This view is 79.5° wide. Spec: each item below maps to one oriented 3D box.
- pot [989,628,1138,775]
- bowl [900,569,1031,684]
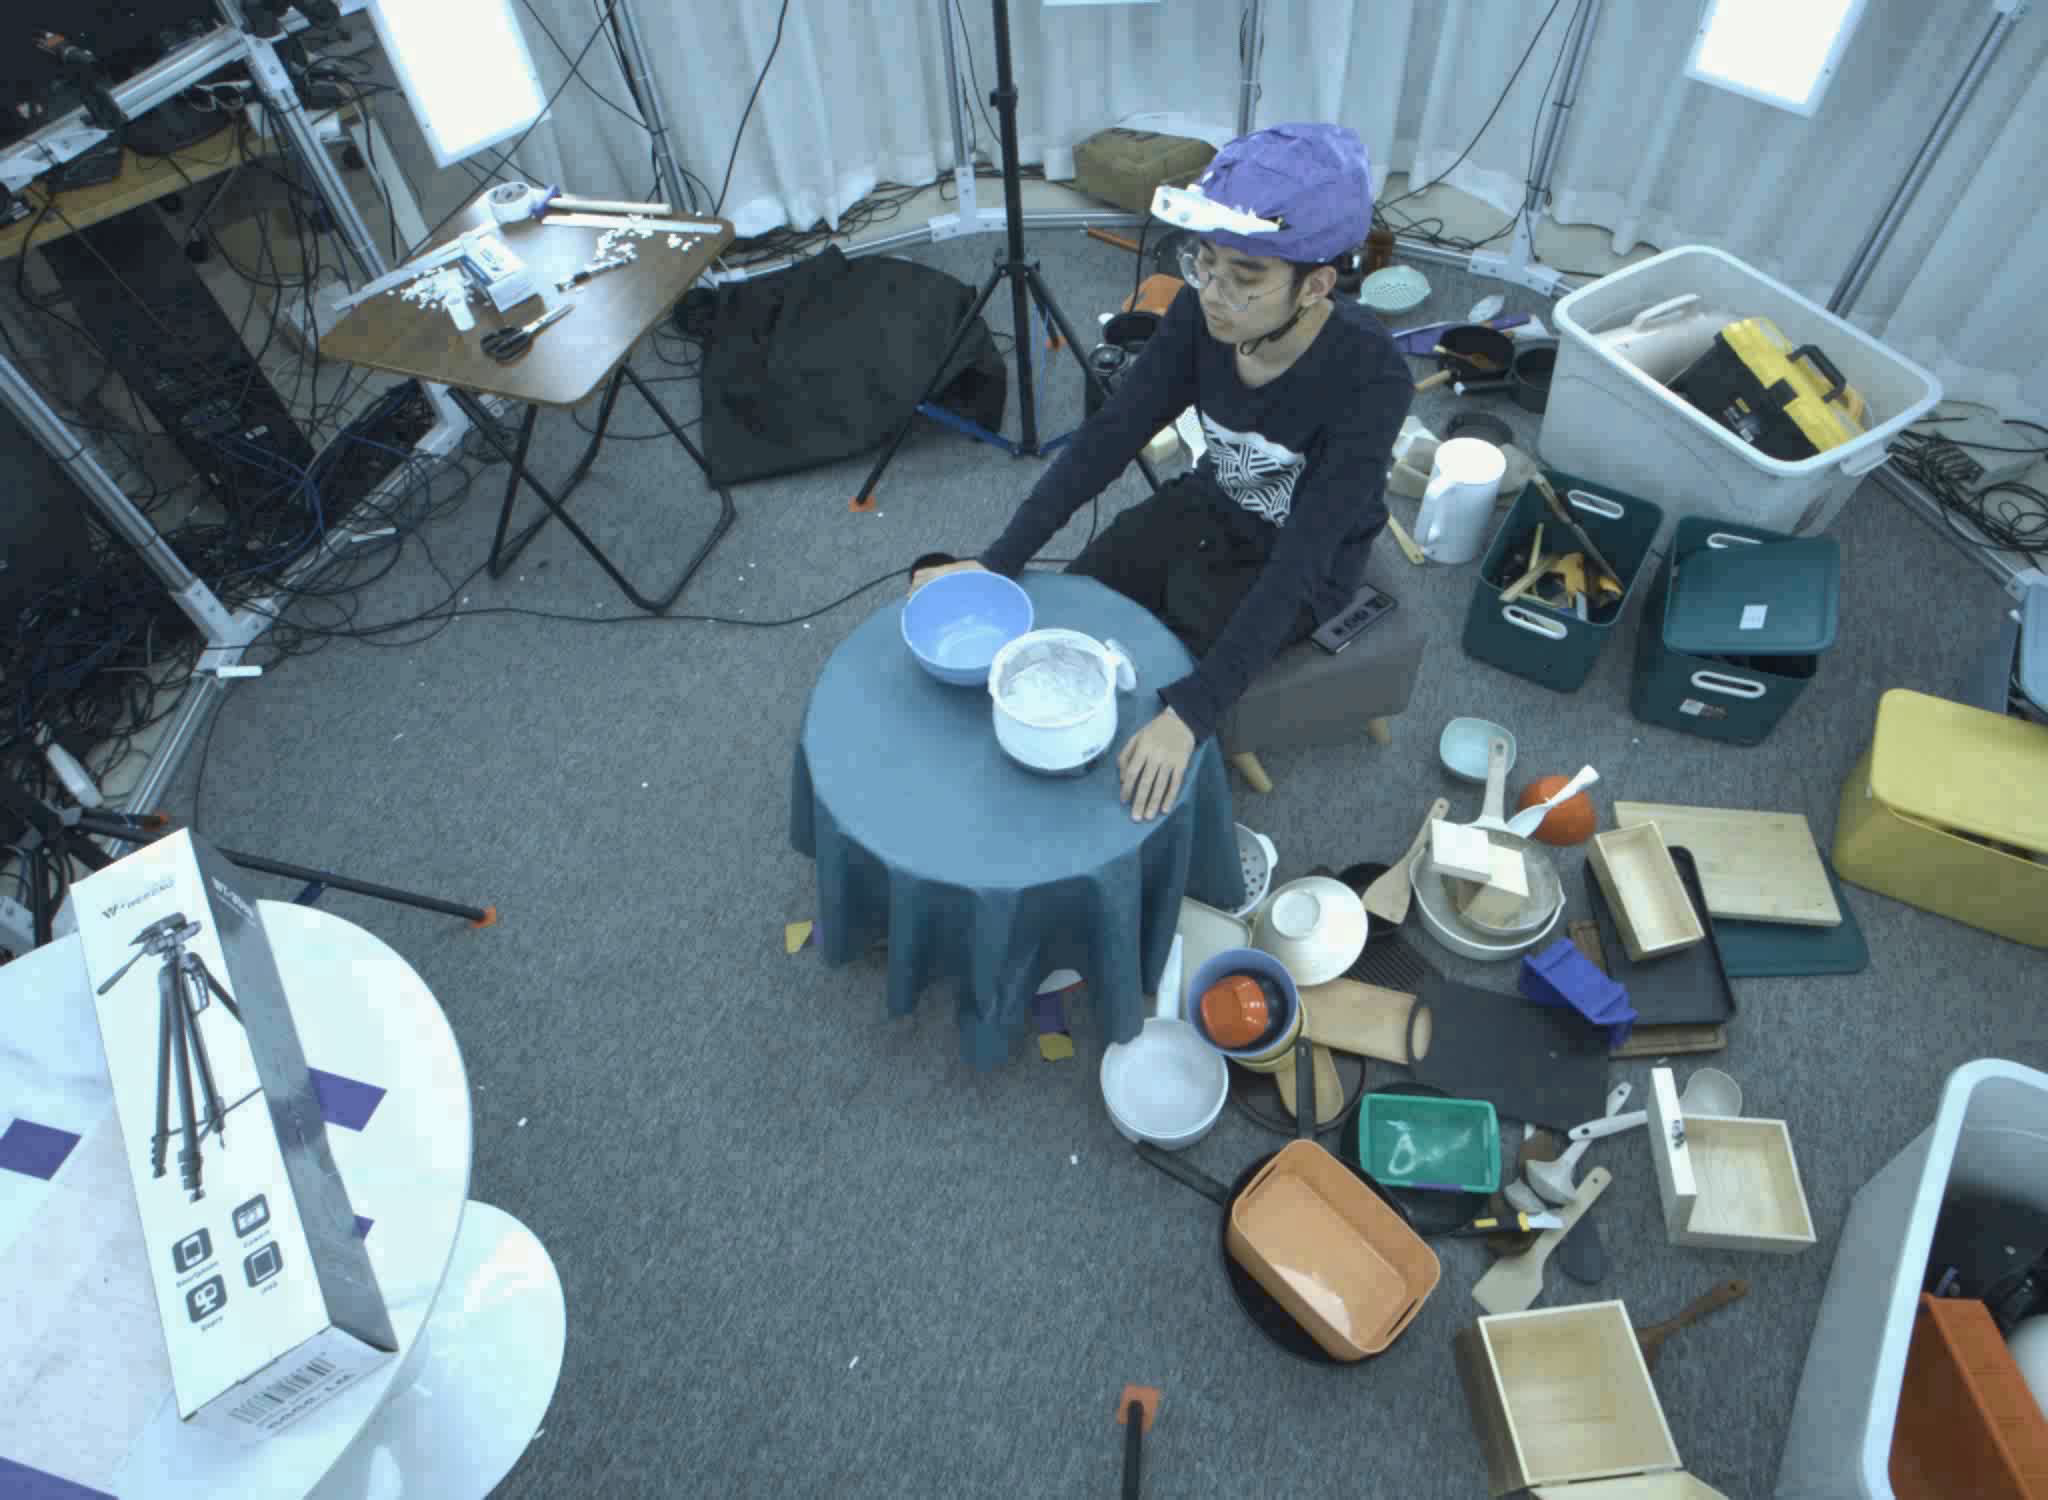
[{"bbox_3d":[0.065,-0.079,1.764,0.235,0.138,0.175,-33,62,-19],"label":"pot"},{"bbox_3d":[-0.082,-0.172,1.856,0.196,0.096,0.194,-3,56,5],"label":"bowl"}]
